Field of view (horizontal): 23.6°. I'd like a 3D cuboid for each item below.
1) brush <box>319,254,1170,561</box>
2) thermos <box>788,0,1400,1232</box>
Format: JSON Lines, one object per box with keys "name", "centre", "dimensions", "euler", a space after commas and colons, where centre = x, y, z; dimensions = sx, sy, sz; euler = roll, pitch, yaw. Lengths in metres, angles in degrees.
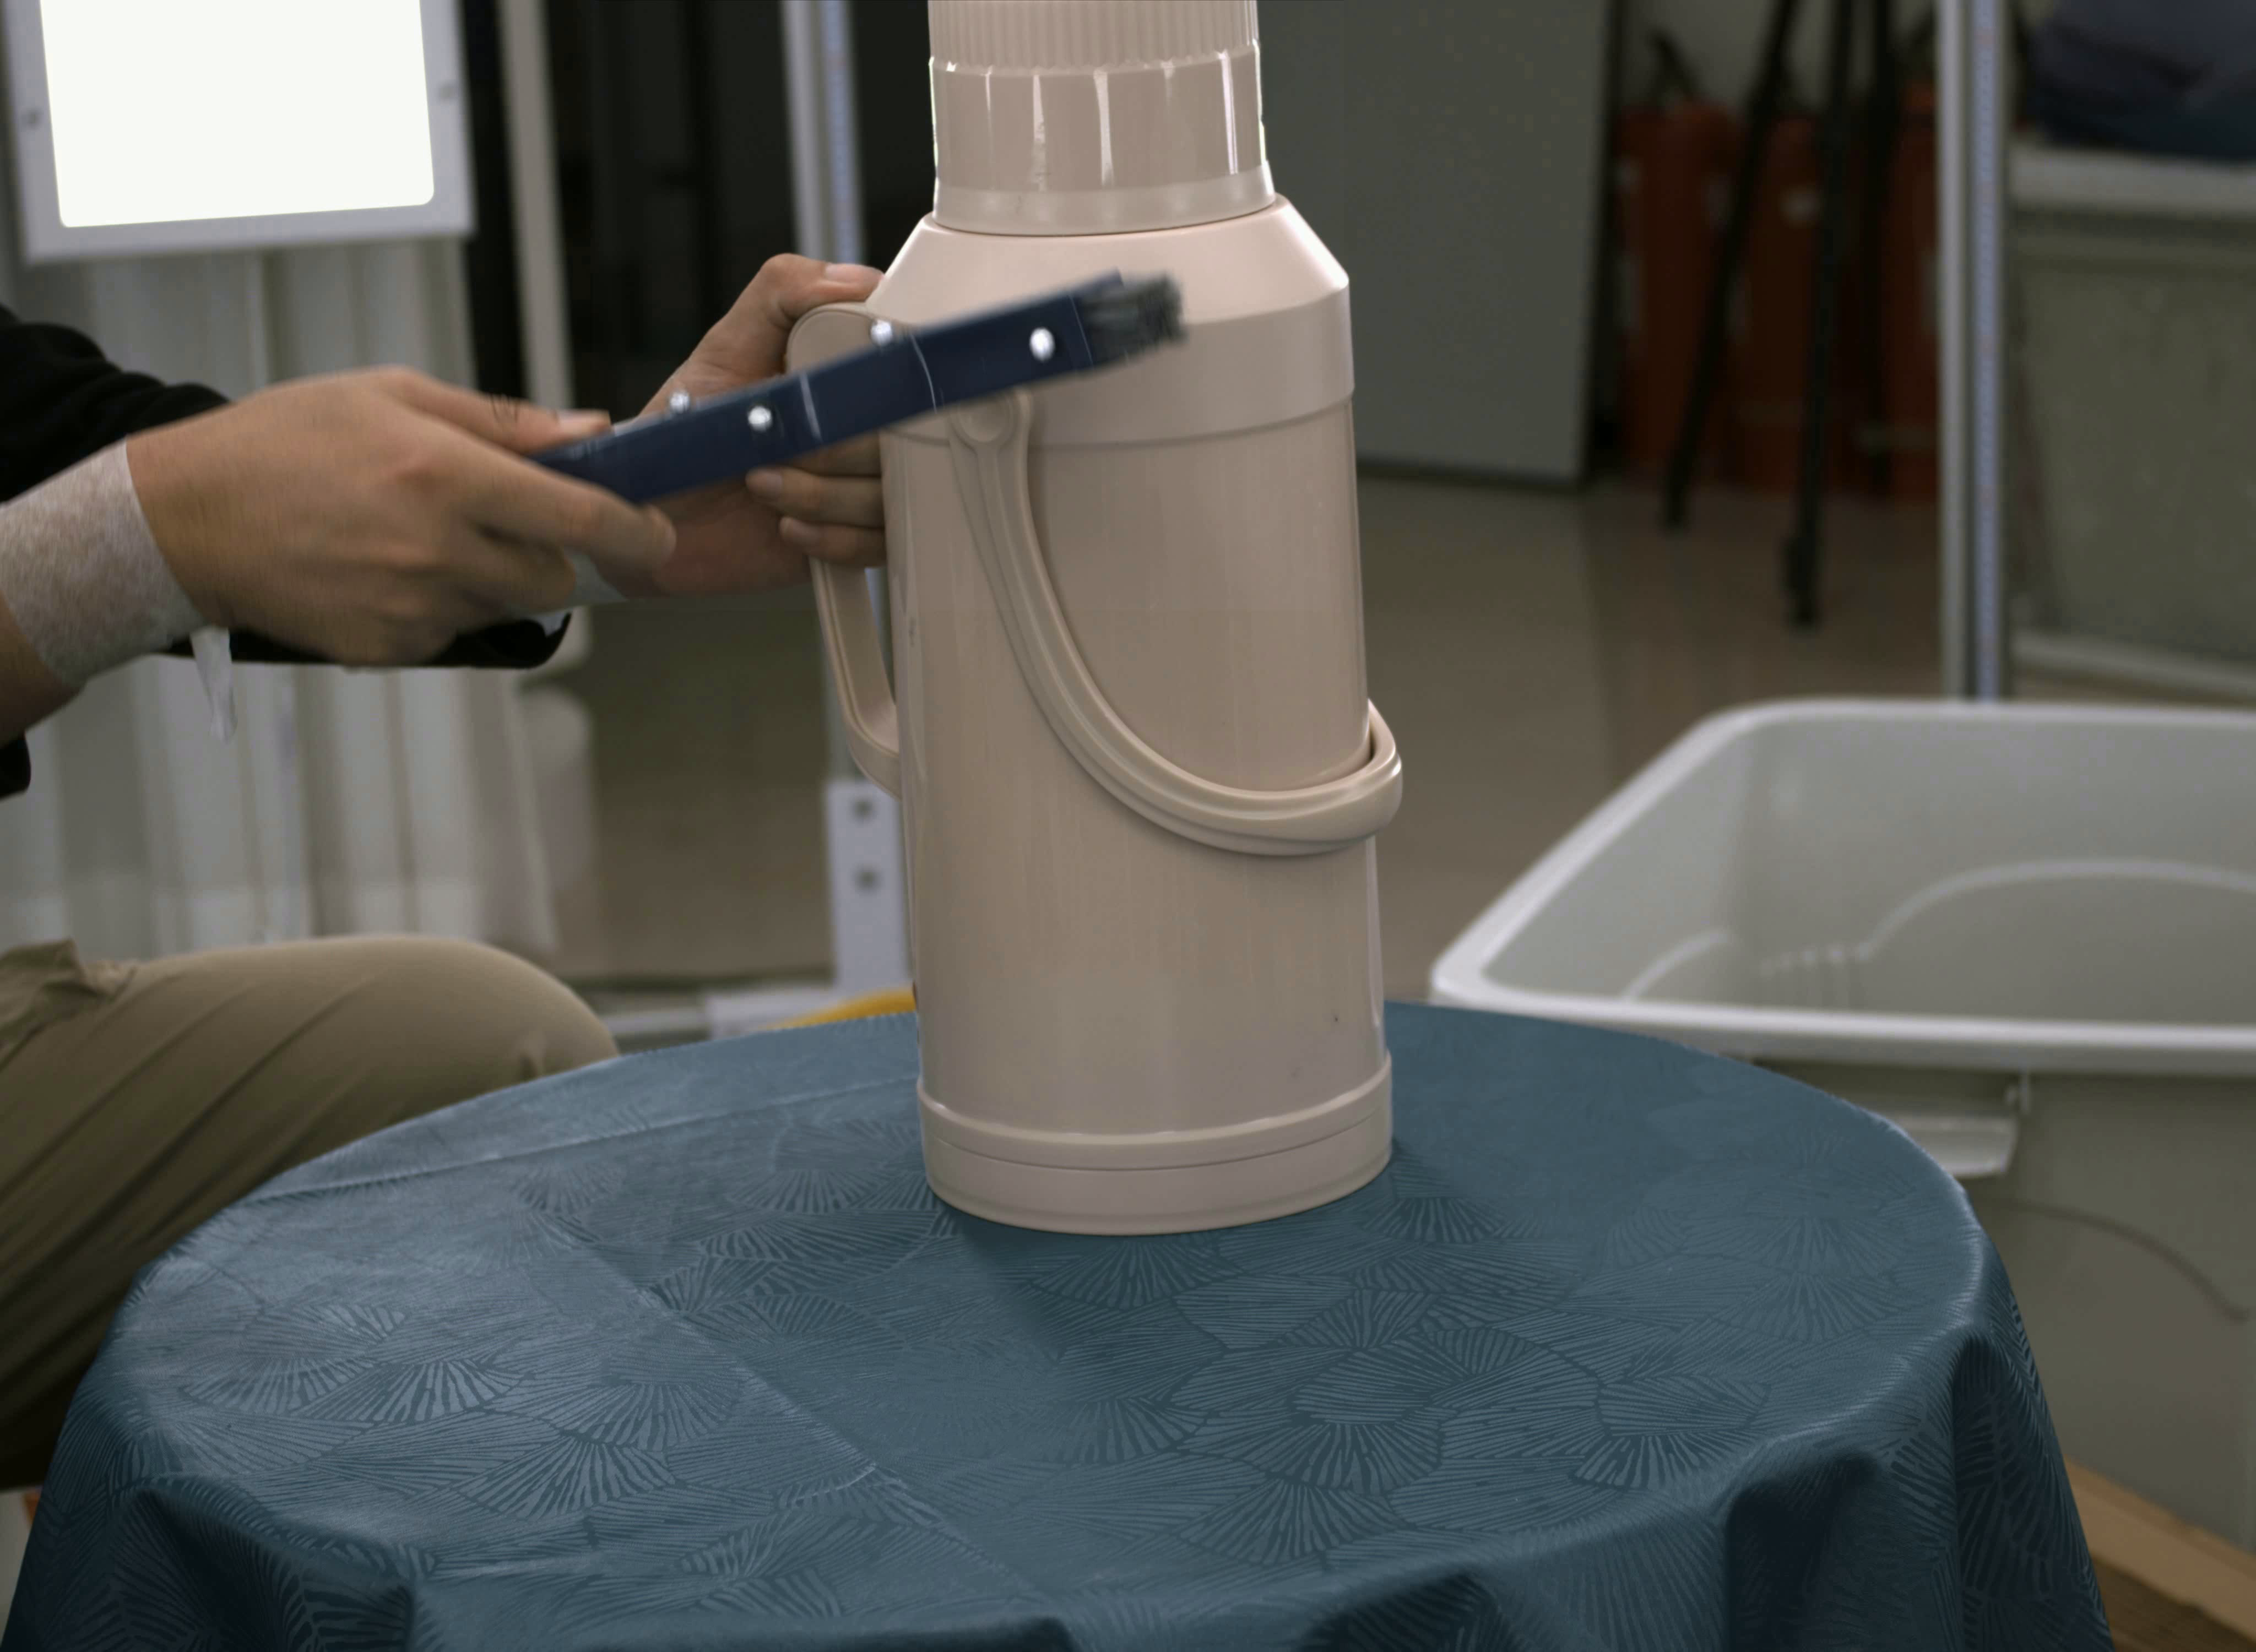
{"name": "brush", "centre": [-0.118, -0.127, 1.612], "dimensions": [0.271, 0.034, 0.095], "euler": [-17, 10, 10]}
{"name": "thermos", "centre": [-0.013, -0.083, 1.765], "dimensions": [0.207, 0.410, 0.173], "euler": [4, 17, 28]}
